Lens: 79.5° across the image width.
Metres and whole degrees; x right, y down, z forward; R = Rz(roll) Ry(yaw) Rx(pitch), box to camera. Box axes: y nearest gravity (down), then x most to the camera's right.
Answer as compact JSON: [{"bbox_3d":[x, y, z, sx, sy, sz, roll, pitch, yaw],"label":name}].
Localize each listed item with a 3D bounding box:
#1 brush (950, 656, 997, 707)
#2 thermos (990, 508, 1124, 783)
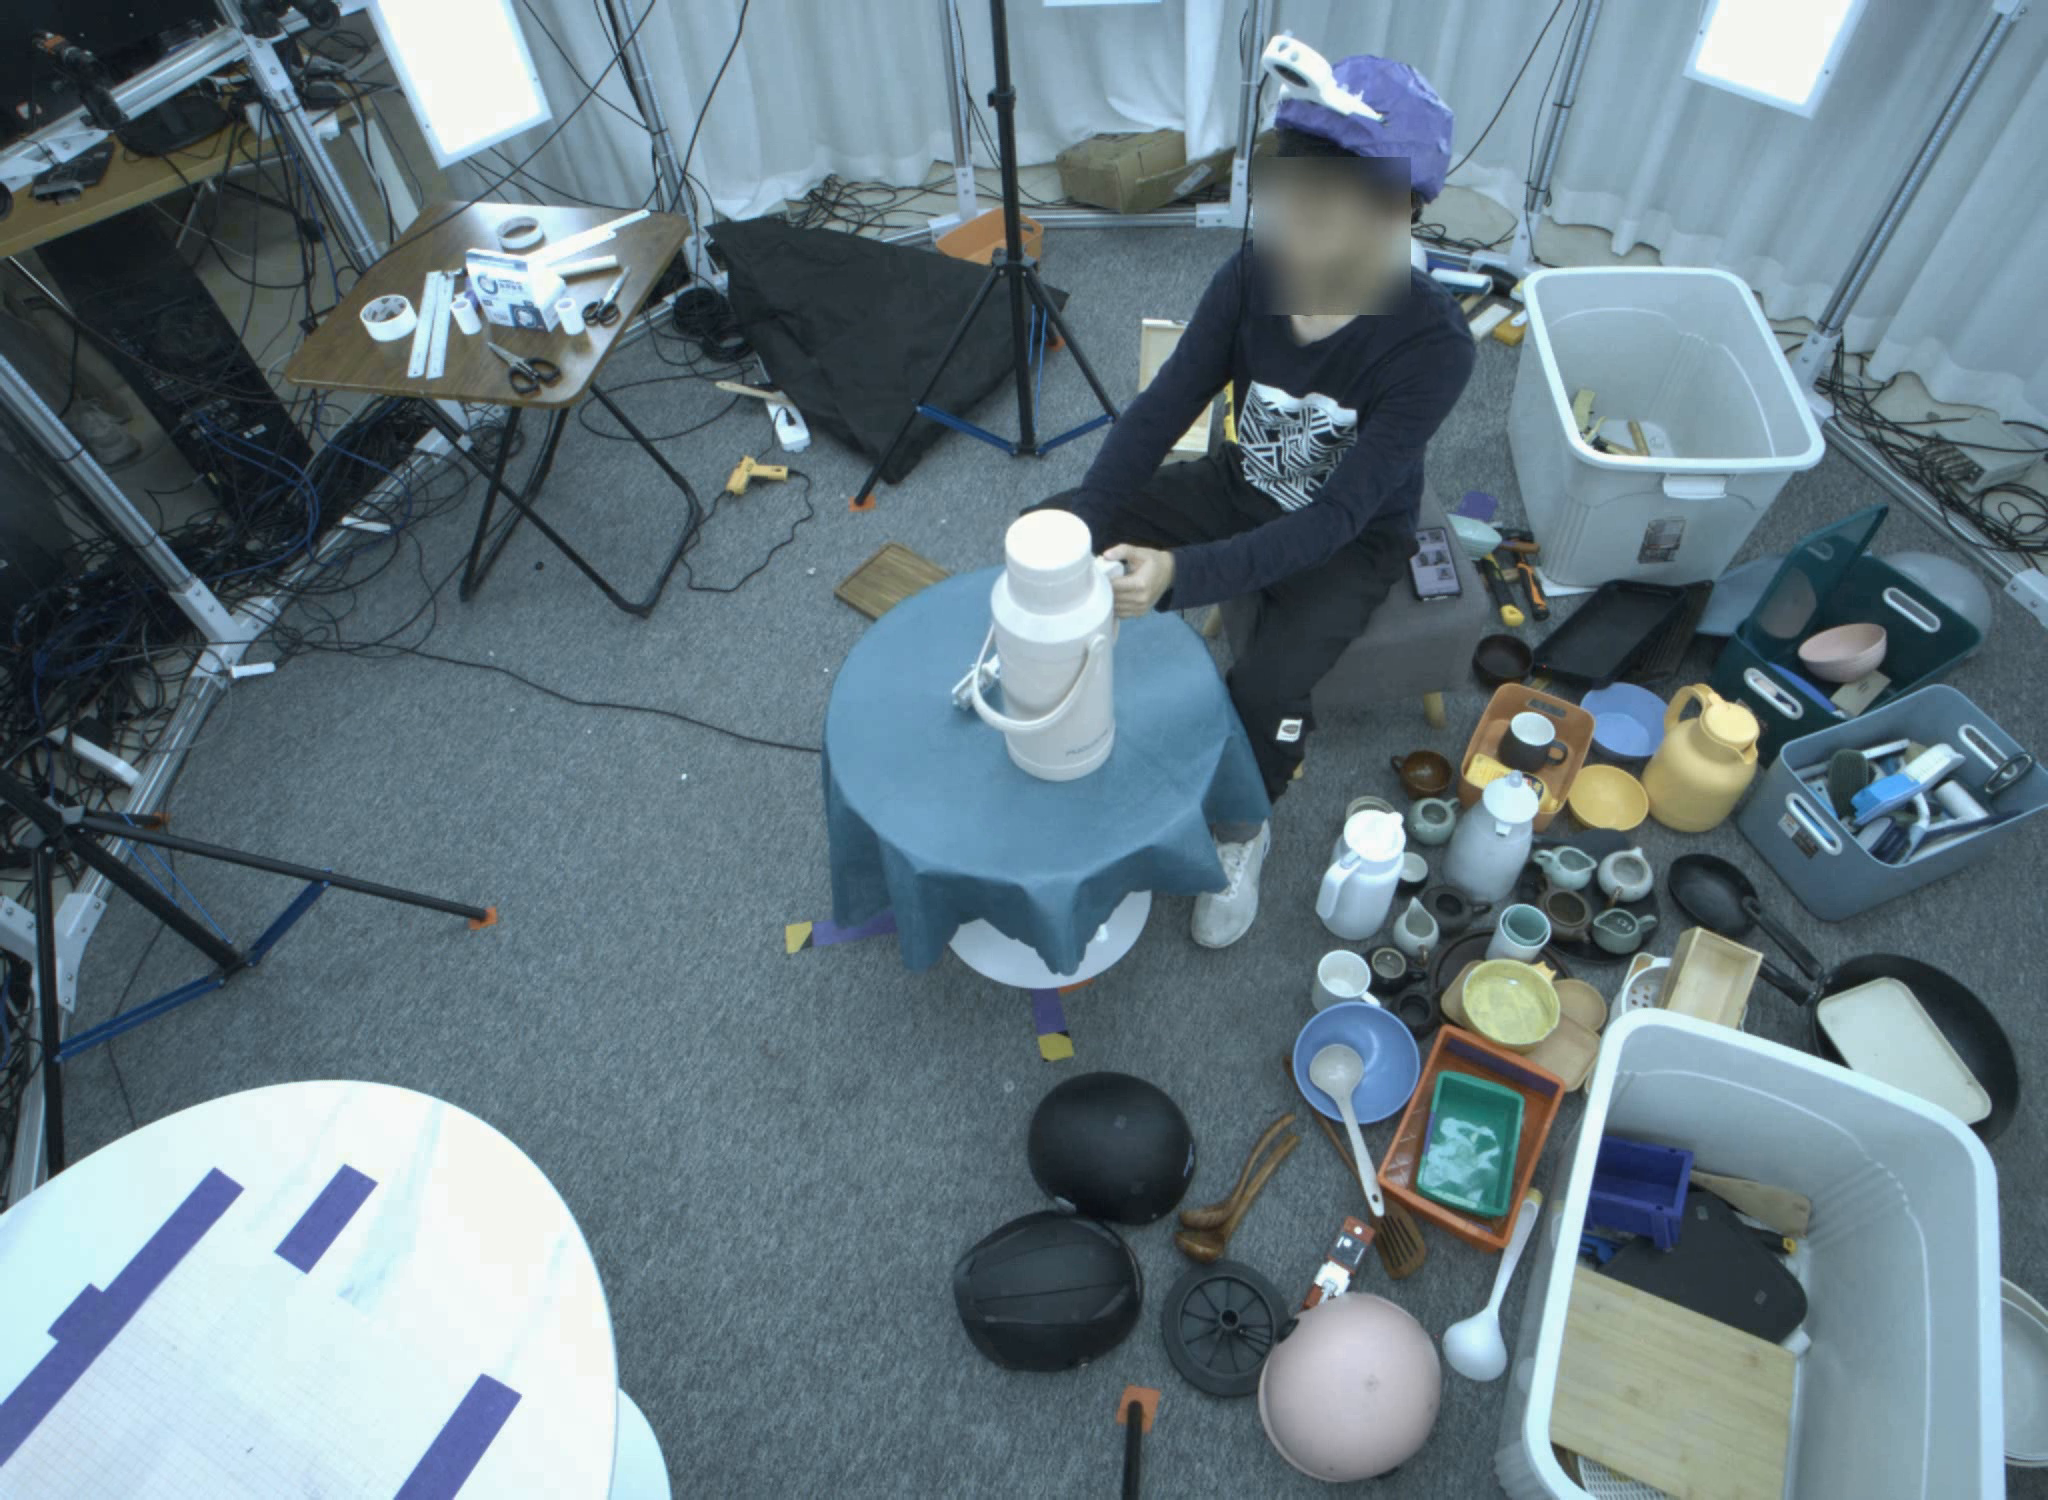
[{"bbox_3d":[-0.018,-0.152,1.834,0.244,0.050,0.034,-43,92,-16],"label":"brush"},{"bbox_3d":[0.053,-0.141,1.633,0.208,0.411,0.172,-39,59,-22],"label":"thermos"}]
